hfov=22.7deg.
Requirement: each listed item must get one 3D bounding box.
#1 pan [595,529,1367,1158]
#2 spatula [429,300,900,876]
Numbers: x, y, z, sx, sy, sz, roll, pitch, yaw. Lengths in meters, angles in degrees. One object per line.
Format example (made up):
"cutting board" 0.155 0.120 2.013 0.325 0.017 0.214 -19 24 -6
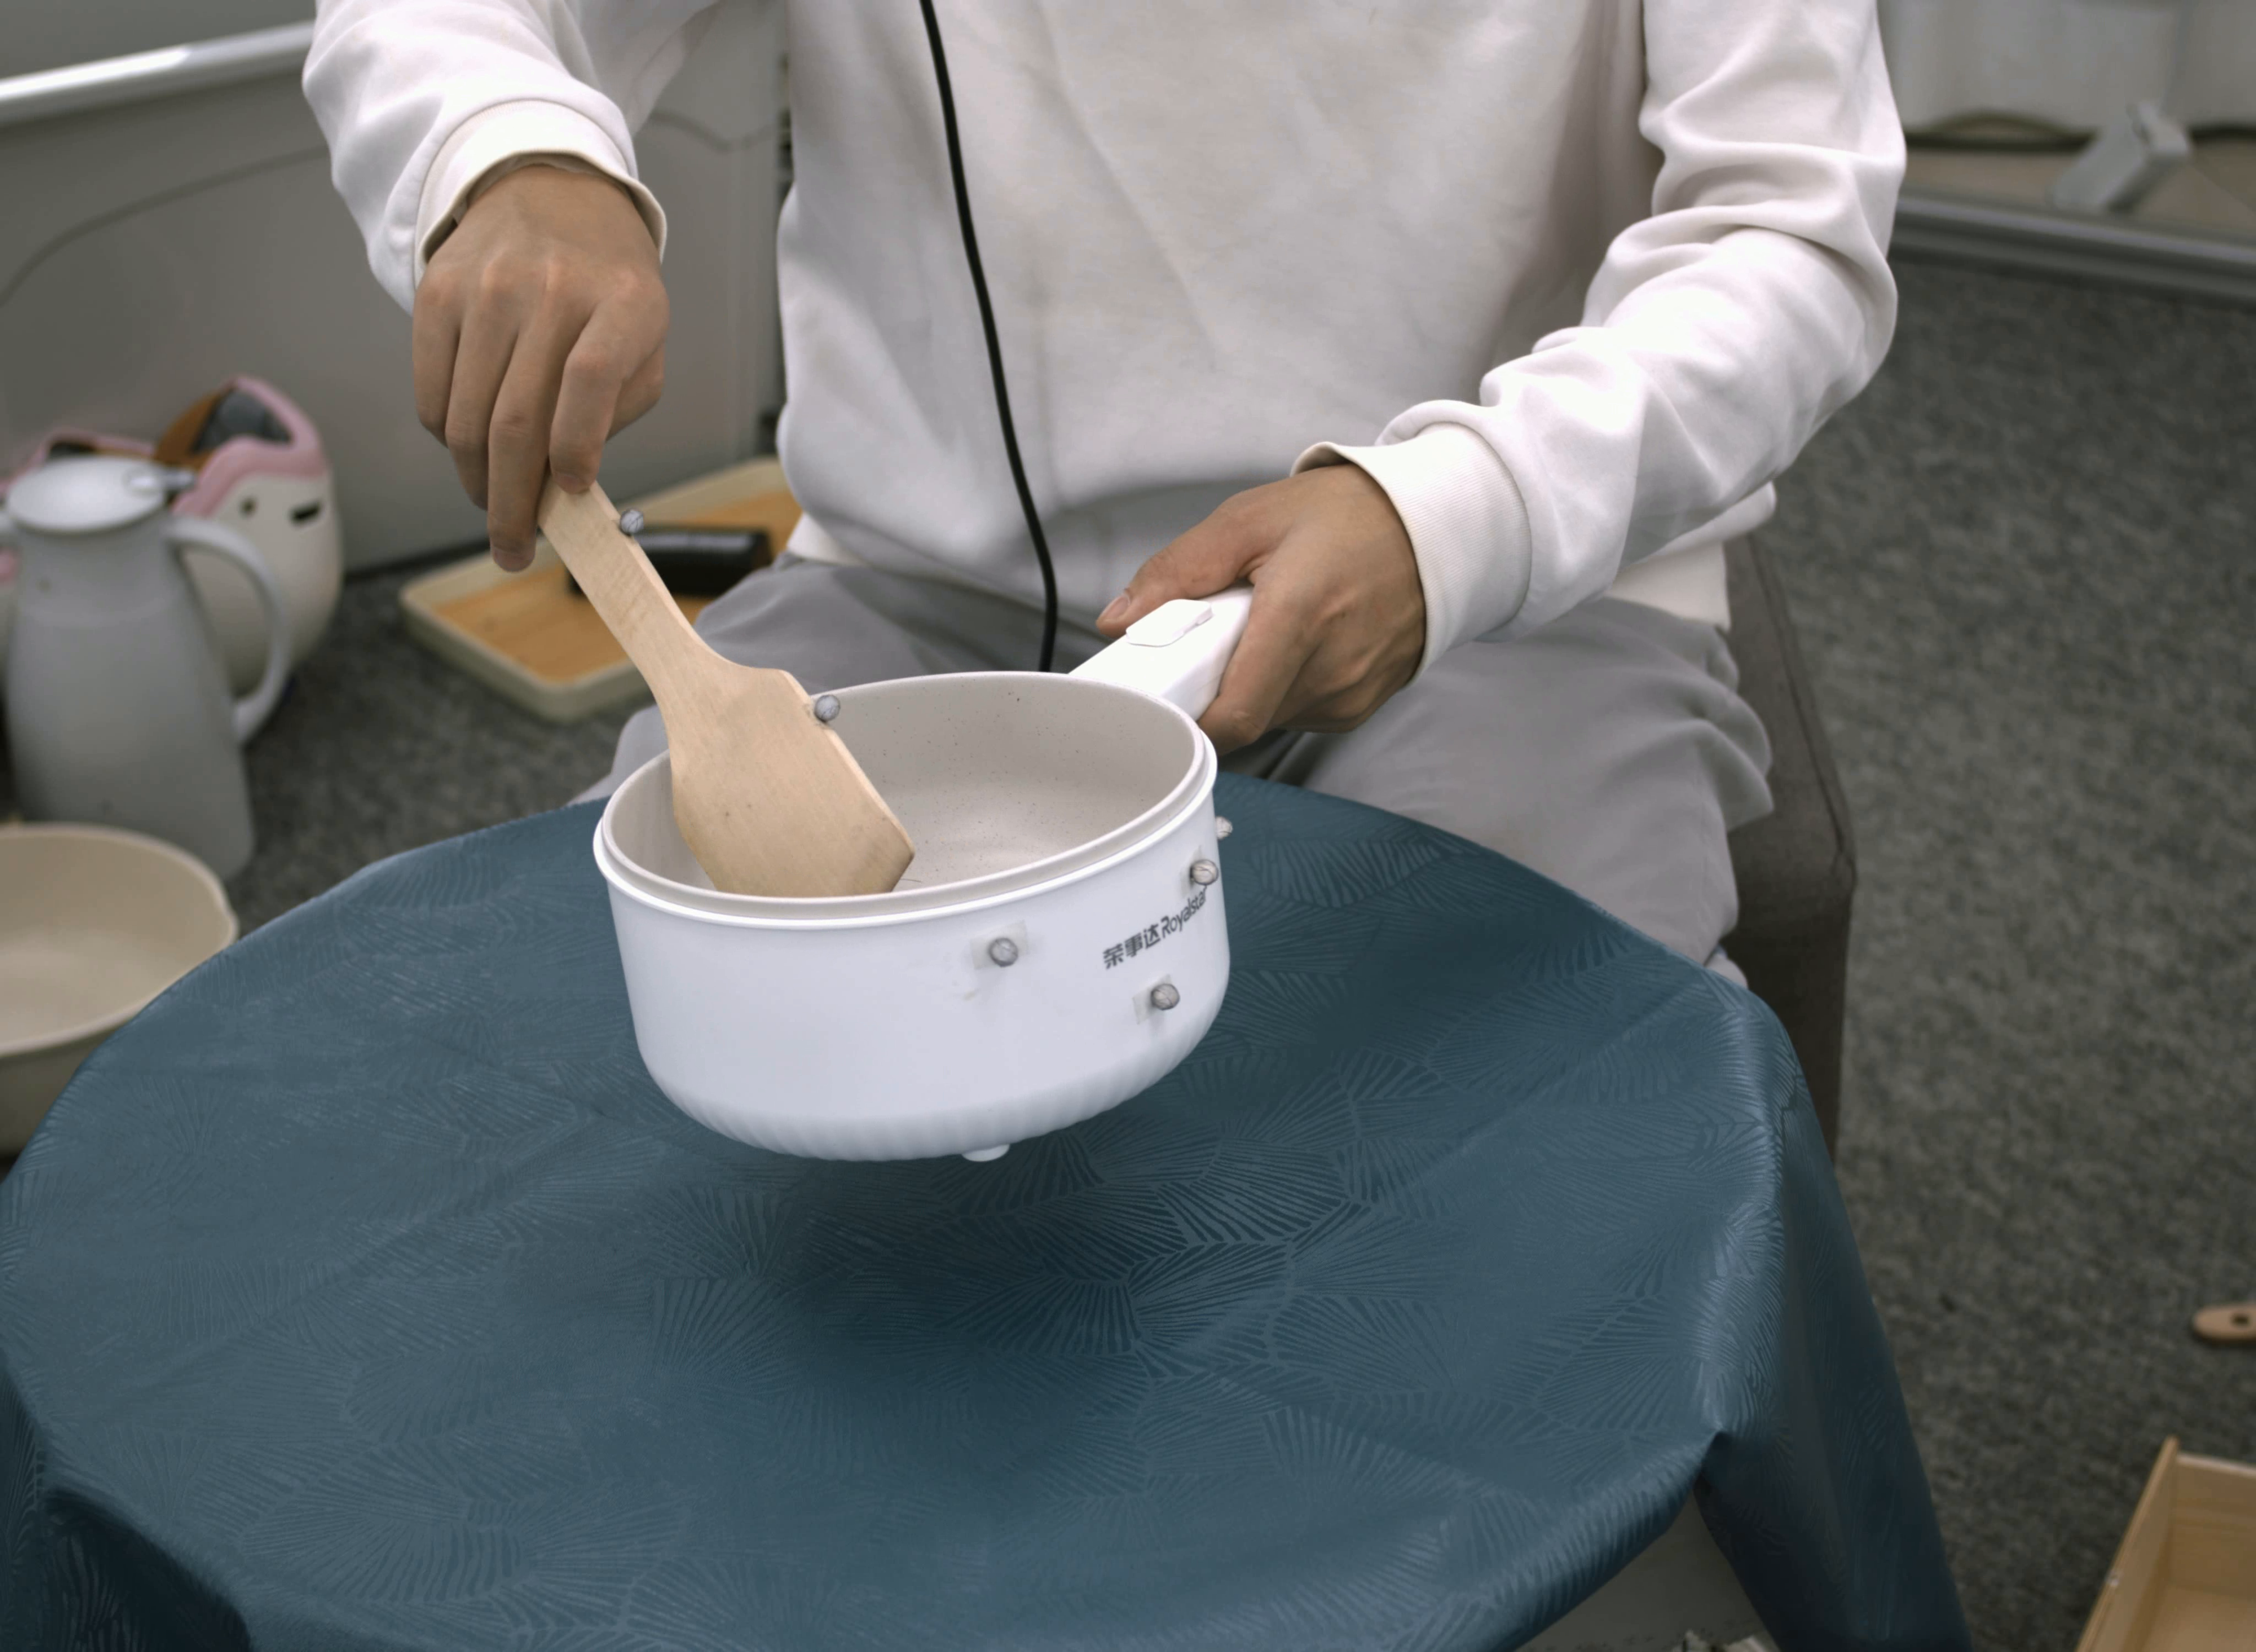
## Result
"pan" -0.025 0.003 1.872 0.199 0.101 0.360 6 24 32
"spatula" -0.161 -0.072 1.854 0.011 0.071 0.296 6 40 -47
